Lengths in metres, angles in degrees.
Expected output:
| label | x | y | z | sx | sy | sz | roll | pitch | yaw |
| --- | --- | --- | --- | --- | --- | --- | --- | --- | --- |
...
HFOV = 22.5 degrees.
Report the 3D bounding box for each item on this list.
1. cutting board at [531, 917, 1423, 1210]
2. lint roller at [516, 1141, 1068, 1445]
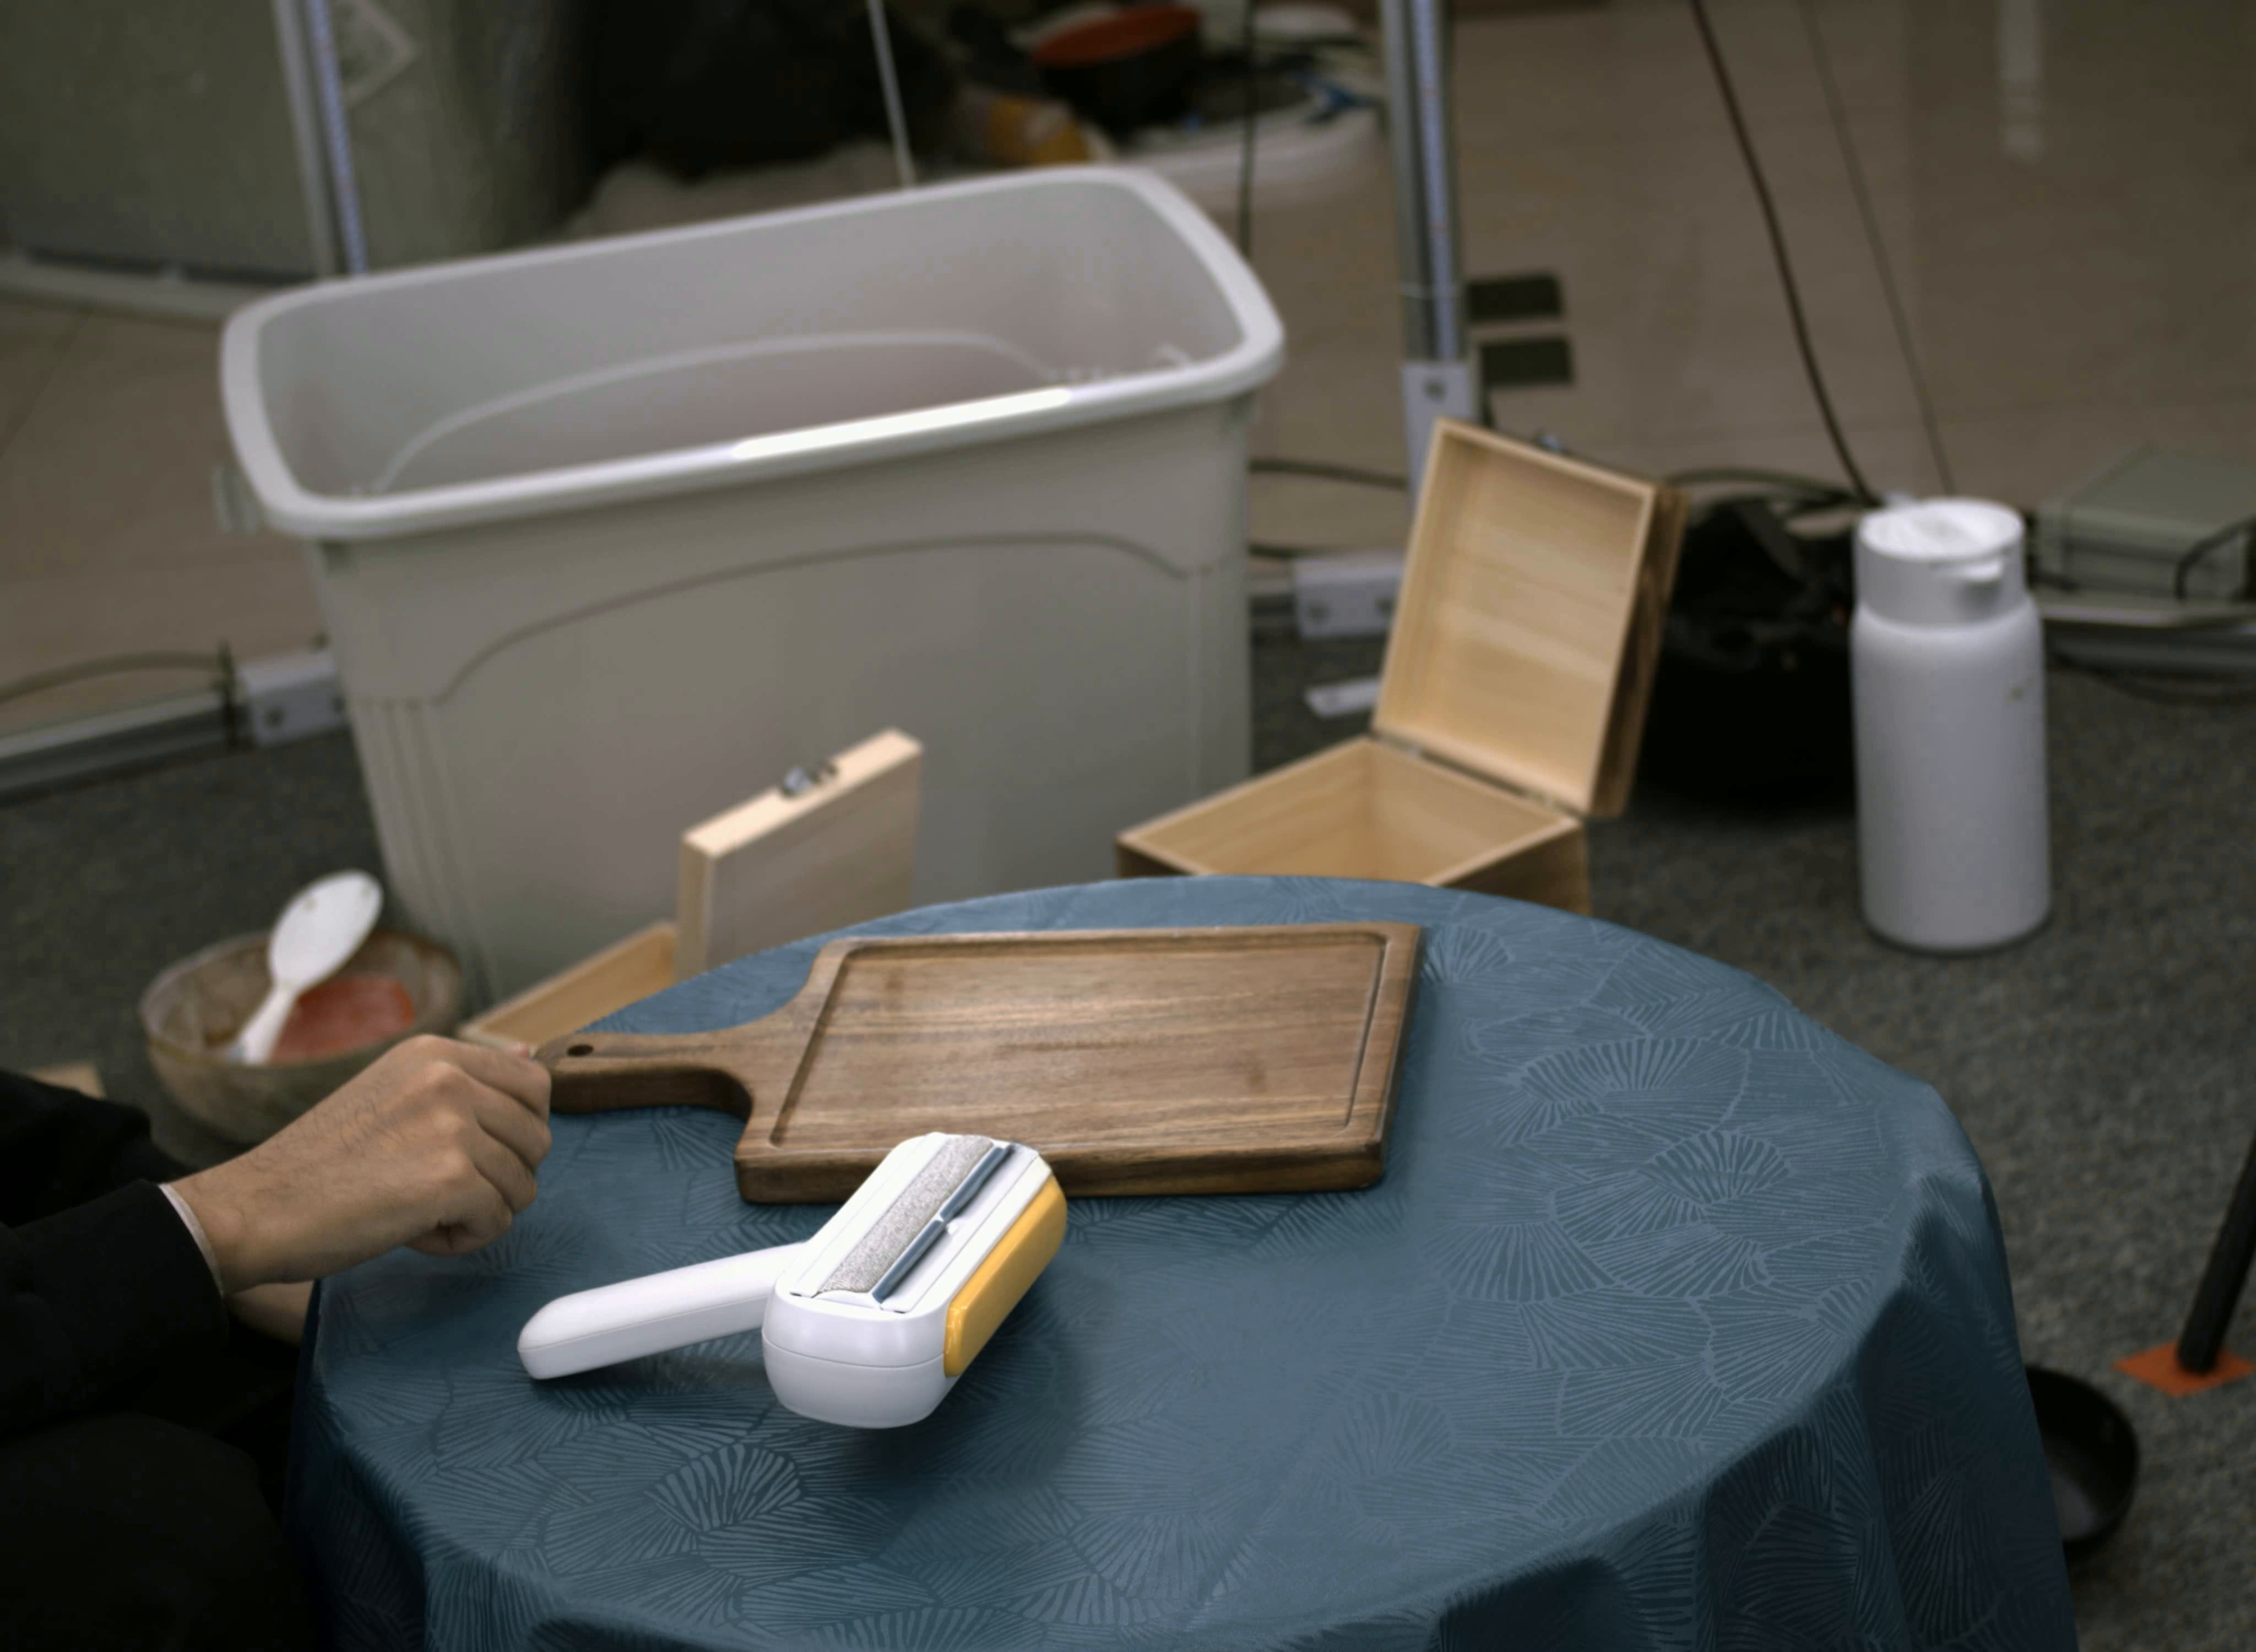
| label | x | y | z | sx | sy | sz | roll | pitch | yaw |
| --- | --- | --- | --- | --- | --- | --- | --- | --- | --- |
| cutting board | -0.063 | 0.093 | 2.234 | 0.351 | 0.023 | 0.198 | -2 | 26 | 9 |
| lint roller | -0.133 | 0.169 | 2.033 | 0.192 | 0.075 | 0.190 | 1 | 21 | 19 |
